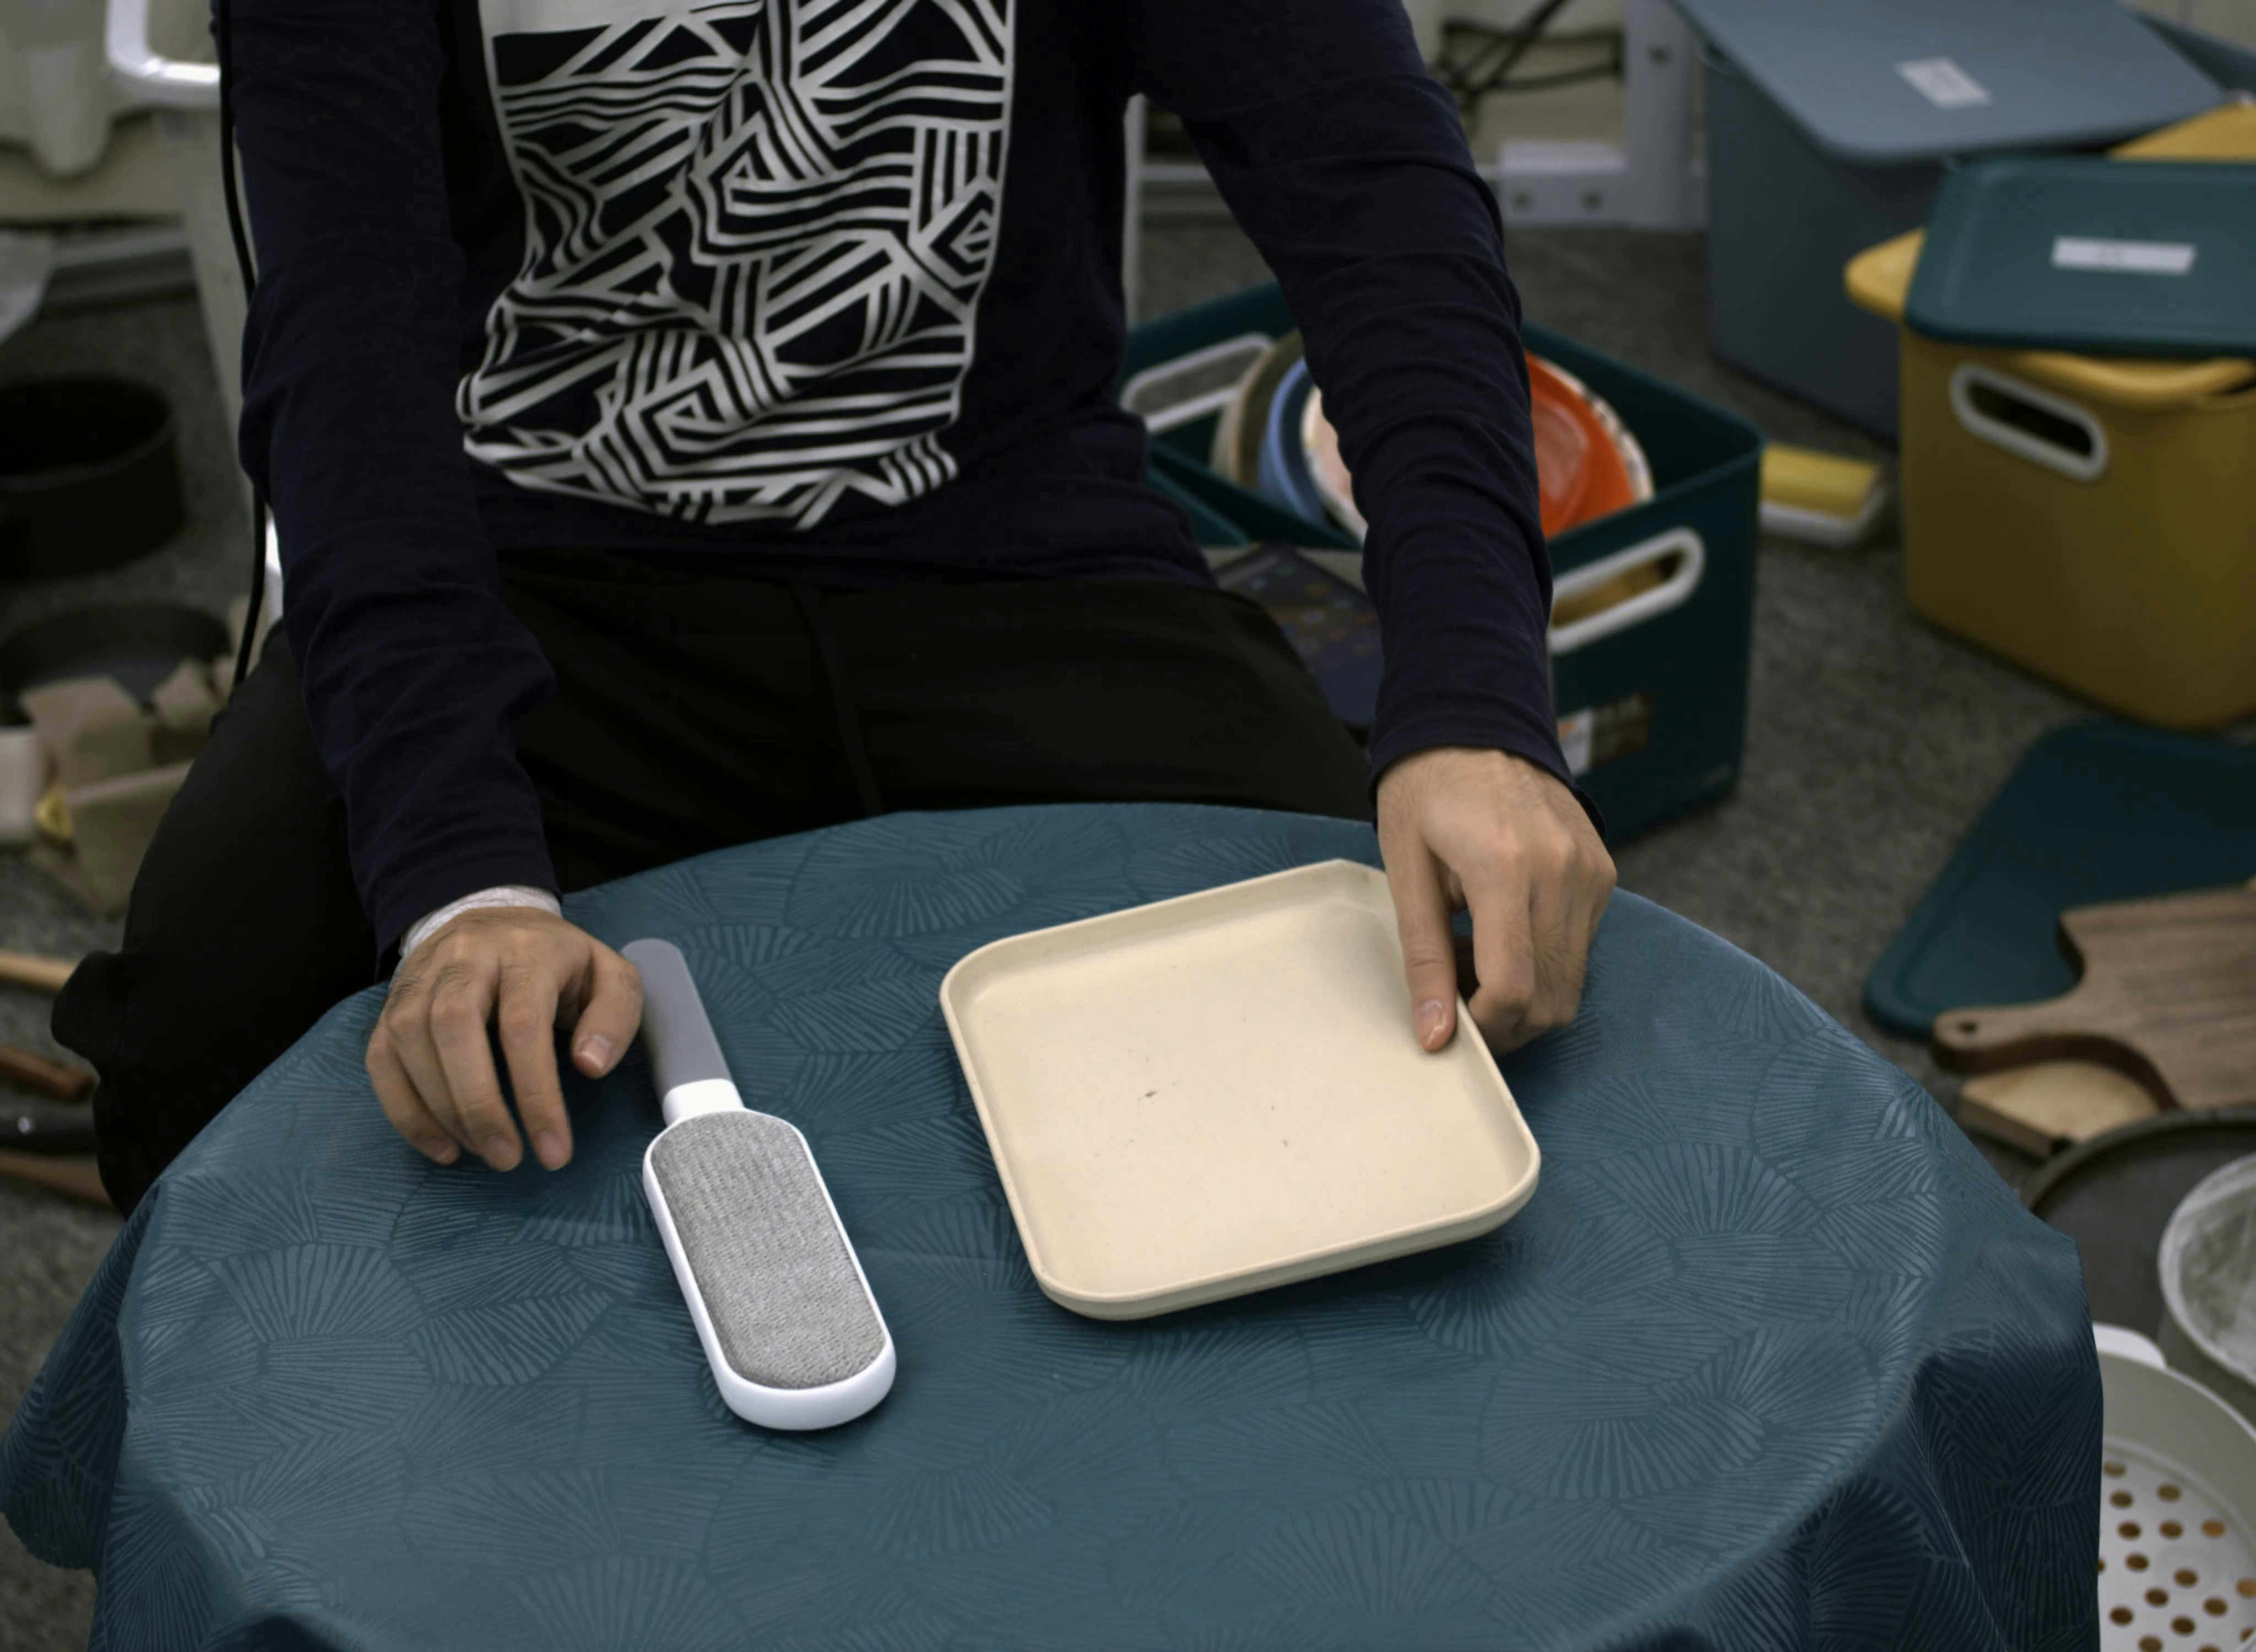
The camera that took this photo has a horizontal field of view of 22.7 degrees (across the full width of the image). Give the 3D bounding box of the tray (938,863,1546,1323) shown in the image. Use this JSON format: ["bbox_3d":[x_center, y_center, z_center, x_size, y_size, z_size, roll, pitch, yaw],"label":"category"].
[{"bbox_3d":[0.035,0.088,1.888,0.171,0.017,0.242,-14,29,-6],"label":"tray"}]

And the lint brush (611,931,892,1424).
[{"bbox_3d":[-0.132,0.111,1.864,0.060,0.021,0.312,-14,29,-9],"label":"lint brush"}]
